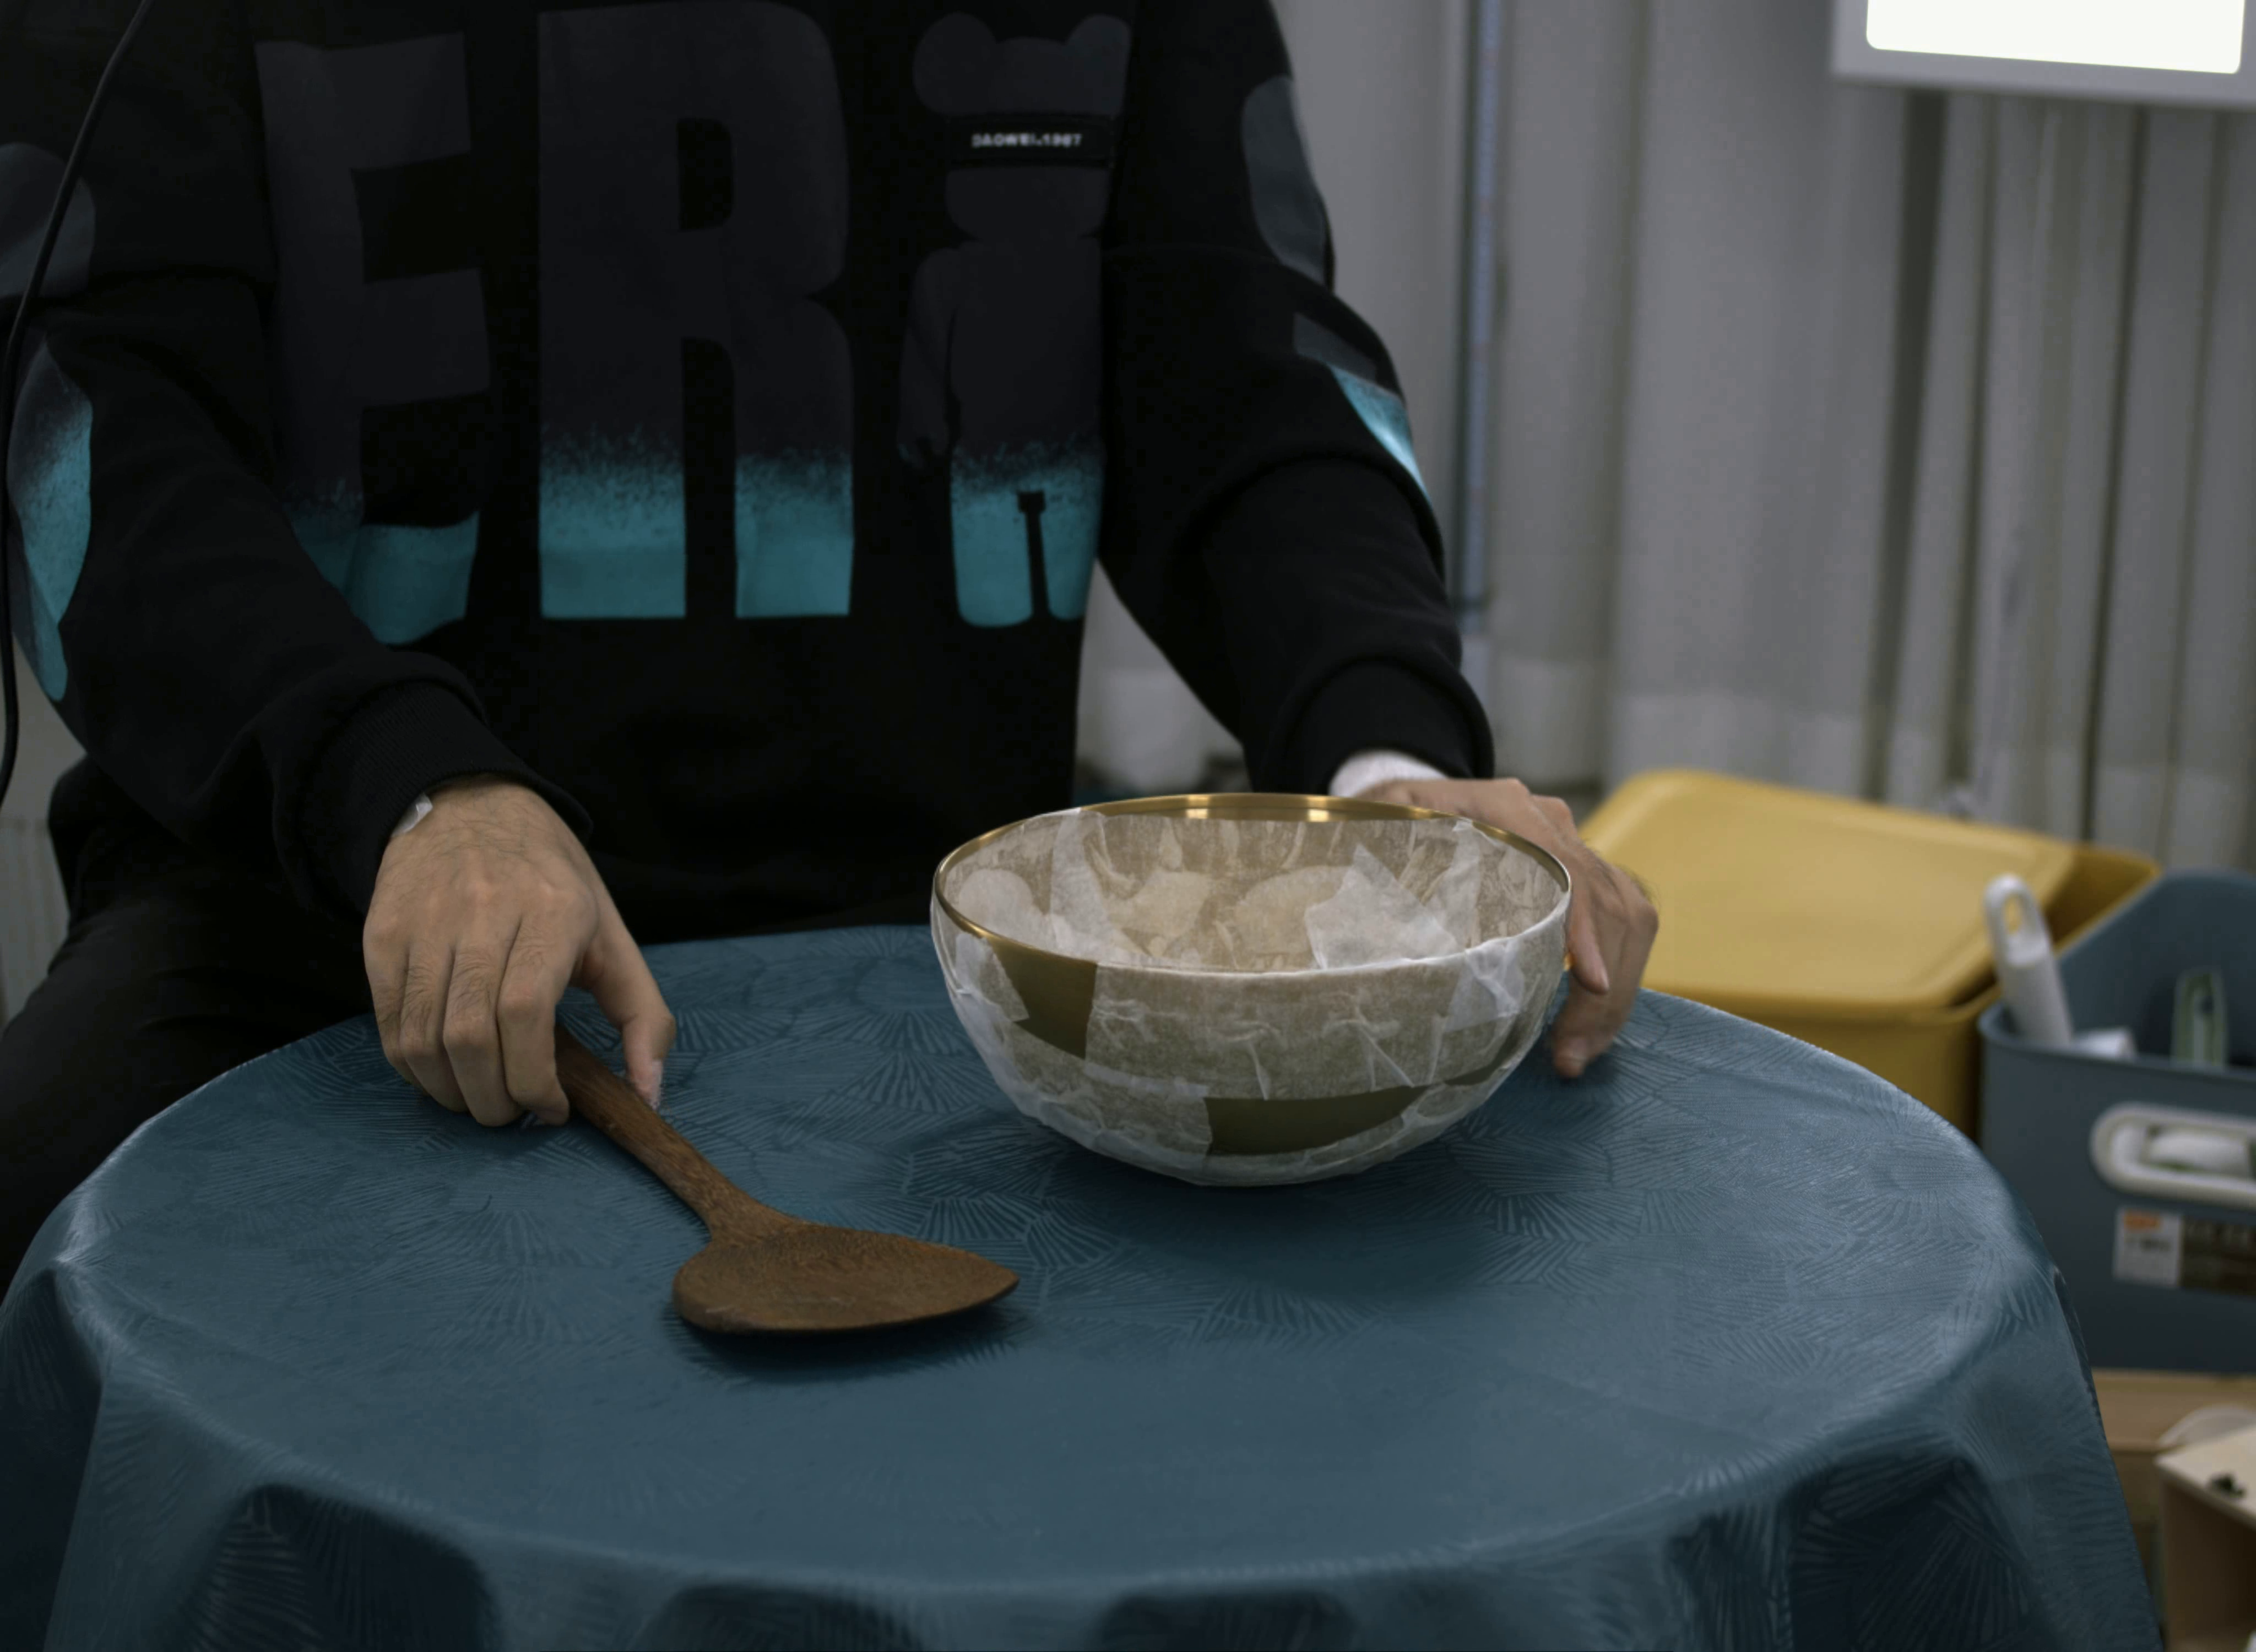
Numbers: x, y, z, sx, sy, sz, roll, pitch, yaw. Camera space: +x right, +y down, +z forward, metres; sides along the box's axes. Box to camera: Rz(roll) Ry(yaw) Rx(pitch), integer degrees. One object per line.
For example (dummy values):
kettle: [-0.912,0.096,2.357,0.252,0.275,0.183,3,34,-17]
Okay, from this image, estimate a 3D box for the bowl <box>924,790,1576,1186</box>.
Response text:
bowl: [0.040,0.058,1.652,0.214,0.095,0.213,-1,15,1]

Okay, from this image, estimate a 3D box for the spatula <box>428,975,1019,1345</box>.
spatula: [-0.149,0.098,1.646,0.096,0.016,0.381,-7,17,-25]
